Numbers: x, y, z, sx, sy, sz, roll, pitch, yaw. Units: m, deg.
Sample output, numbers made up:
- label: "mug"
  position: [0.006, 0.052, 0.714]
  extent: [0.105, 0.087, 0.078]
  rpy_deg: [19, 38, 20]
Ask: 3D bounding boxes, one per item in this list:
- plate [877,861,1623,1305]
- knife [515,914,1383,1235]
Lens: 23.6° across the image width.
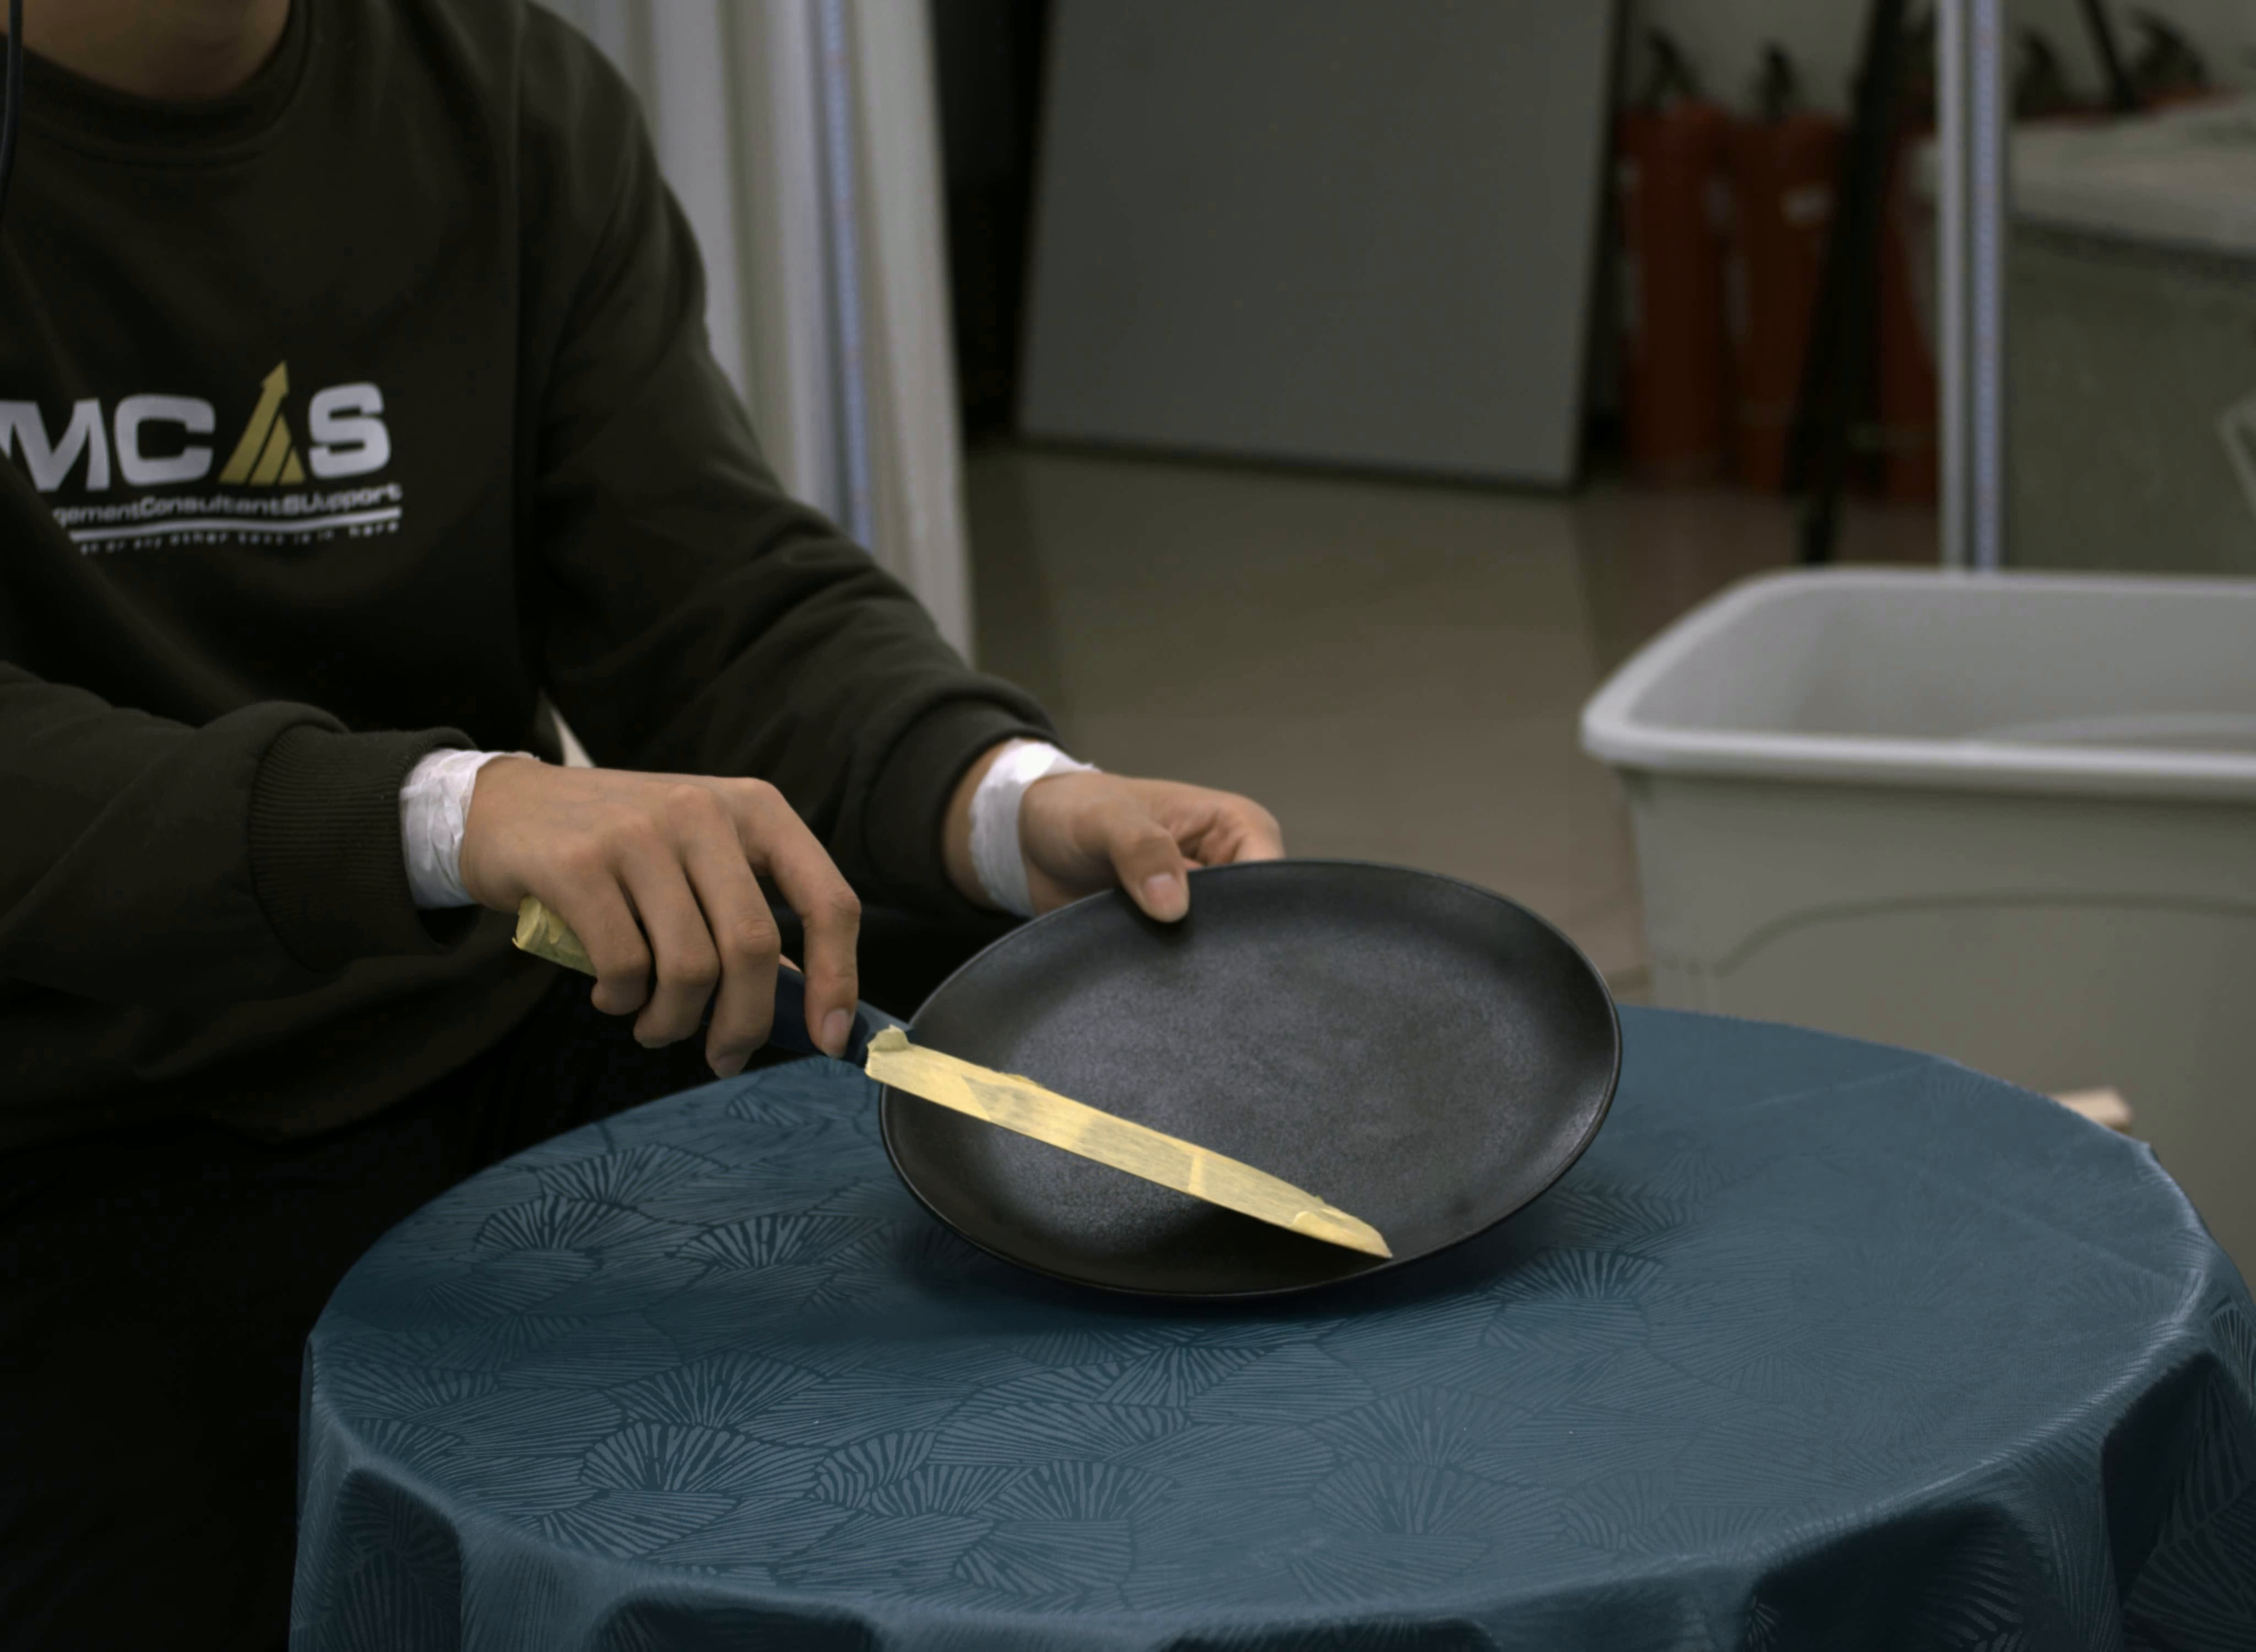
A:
- label: "plate"
  position: [0.040, 0.087, 1.741]
  extent: [0.242, 0.023, 0.245]
  rpy_deg: [-7, 32, 3]
- label: "knife"
  position: [-0.056, 0.081, 1.671]
  extent: [0.287, 0.027, 0.081]
  rpy_deg: [18, 5, 4]
